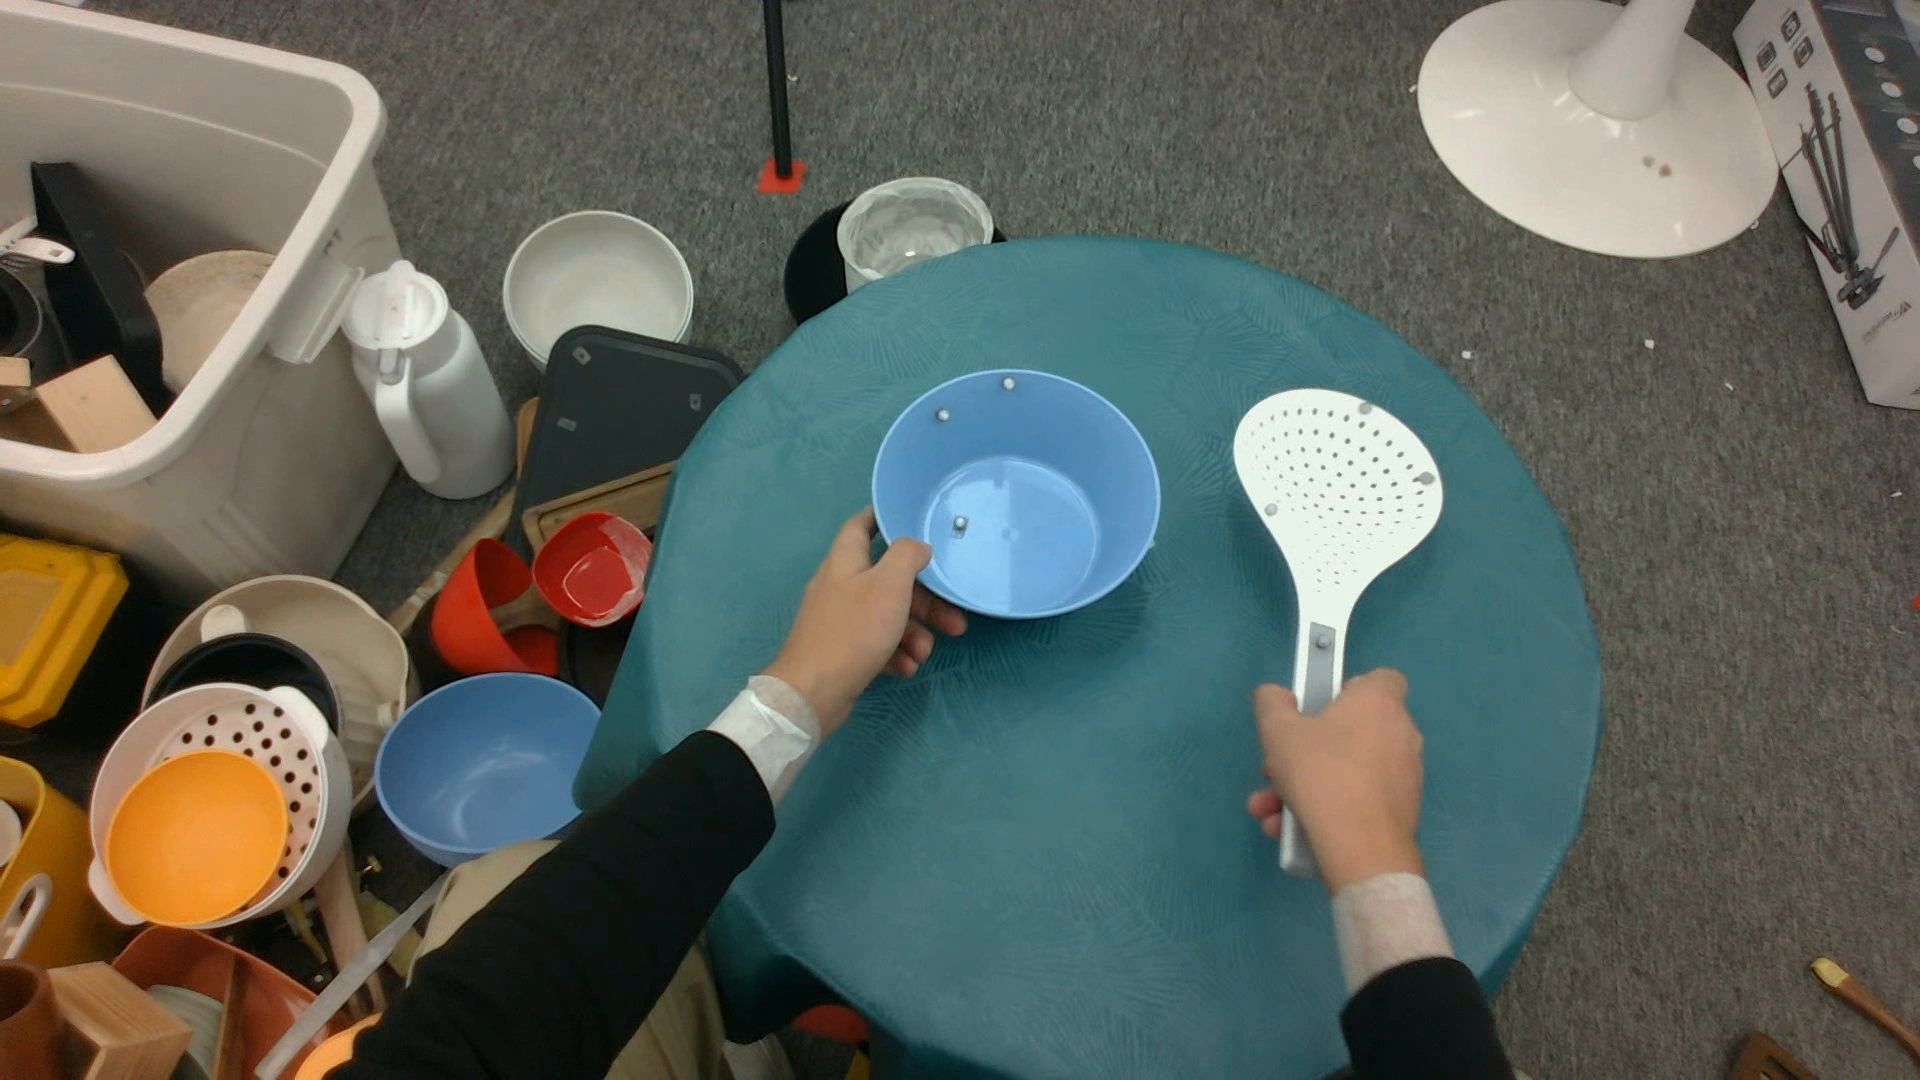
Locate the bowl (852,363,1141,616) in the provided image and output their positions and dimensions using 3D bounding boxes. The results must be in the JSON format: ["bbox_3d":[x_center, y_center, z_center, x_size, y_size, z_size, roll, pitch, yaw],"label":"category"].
[{"bbox_3d":[0.021,-0.020,0.859,0.176,0.070,0.177,2,62,-3],"label":"bowl"}]

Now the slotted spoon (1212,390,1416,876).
[{"bbox_3d":[0.205,0.039,0.817,0.136,0.045,0.351,15,46,-1],"label":"slotted spoon"}]
